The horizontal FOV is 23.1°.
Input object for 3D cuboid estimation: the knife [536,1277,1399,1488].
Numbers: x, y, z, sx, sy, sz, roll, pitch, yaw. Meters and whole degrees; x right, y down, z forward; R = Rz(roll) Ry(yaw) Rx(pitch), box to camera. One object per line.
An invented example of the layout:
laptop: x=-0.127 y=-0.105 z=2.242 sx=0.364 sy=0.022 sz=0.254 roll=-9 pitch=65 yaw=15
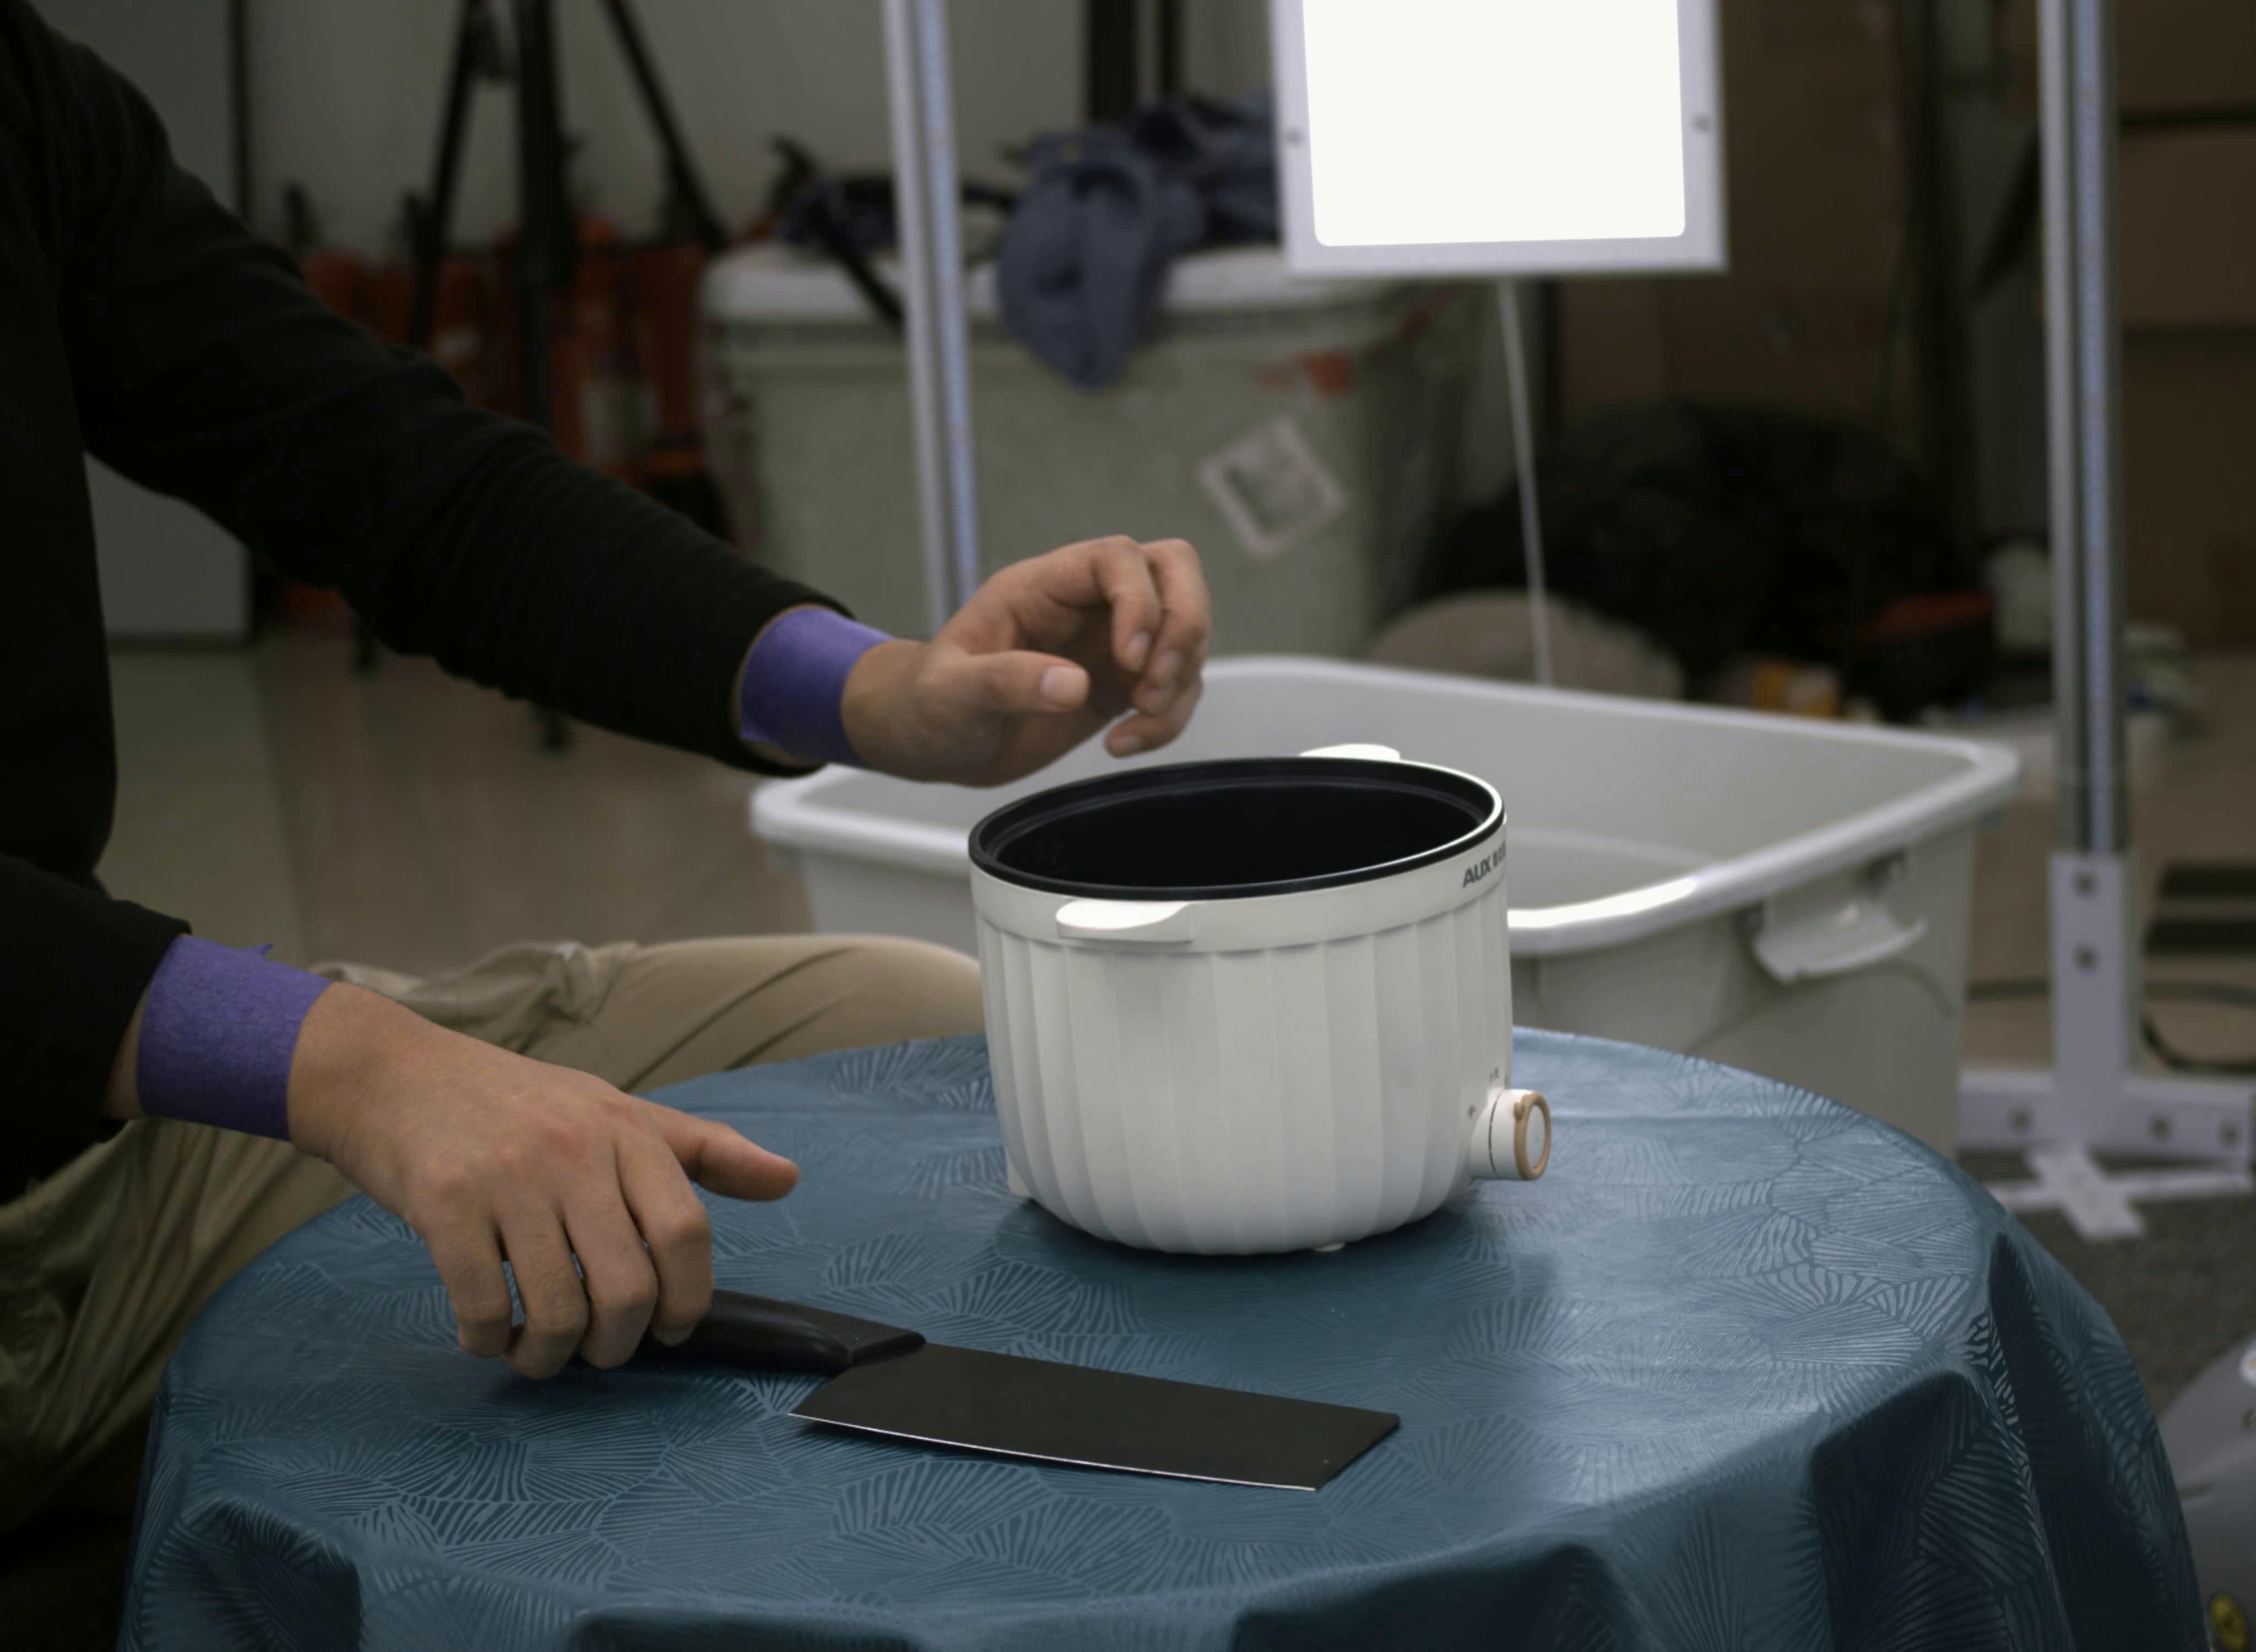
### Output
knife: x=-0.059 y=0.173 z=1.707 sx=0.308 sy=0.021 sz=0.079 roll=7 pitch=19 yaw=35

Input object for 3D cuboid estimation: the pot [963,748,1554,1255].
pot: x=0.046 y=0.062 z=1.856 sx=0.193 sy=0.143 sz=0.235 roll=-2 pitch=15 yaw=25
